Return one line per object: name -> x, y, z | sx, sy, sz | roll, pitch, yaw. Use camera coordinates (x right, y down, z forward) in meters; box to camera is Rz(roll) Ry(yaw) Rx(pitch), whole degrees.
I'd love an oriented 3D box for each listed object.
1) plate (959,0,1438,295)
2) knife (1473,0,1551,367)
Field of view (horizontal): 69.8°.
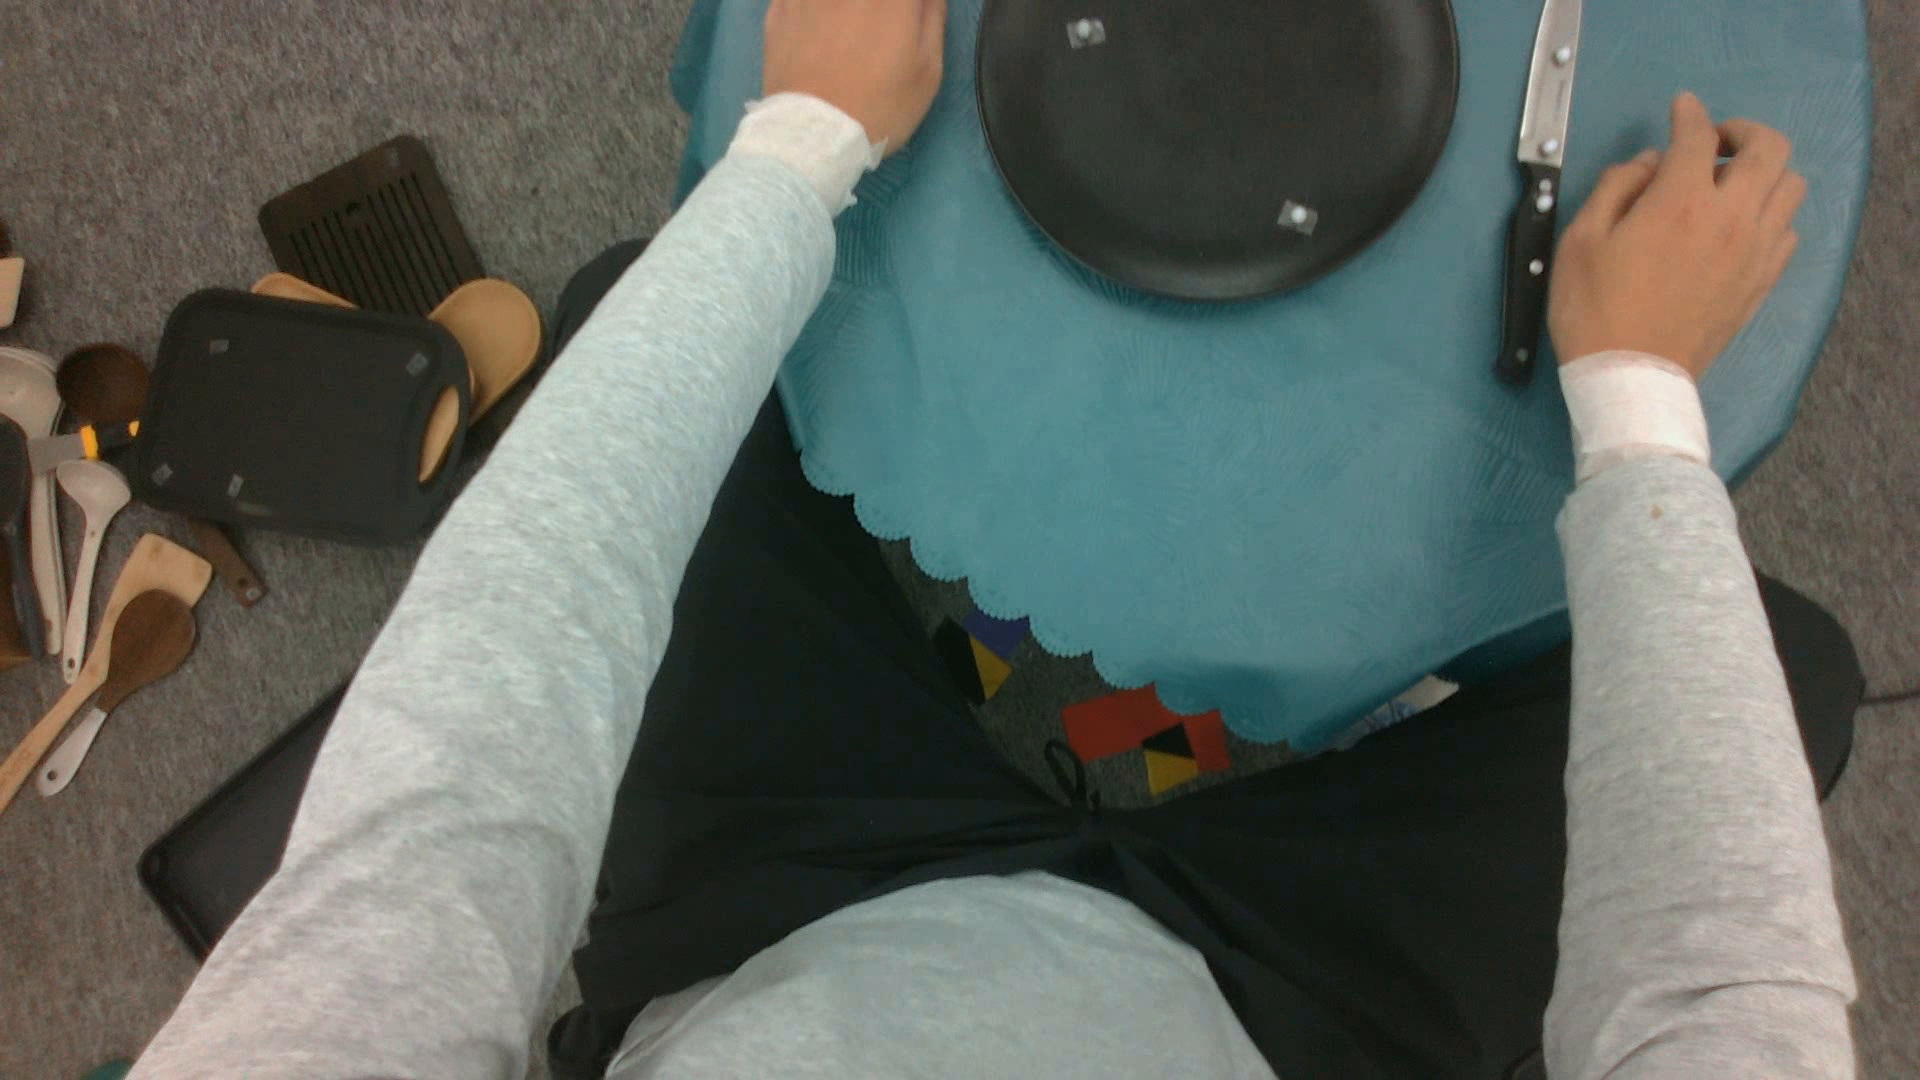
plate -> 0.122, -0.243, 0.711 | 0.244, 0.023, 0.244 | 0, 83, 2
knife -> 0.287, -0.202, 0.707 | 0.024, 0.016, 0.238 | 10, 81, 3
